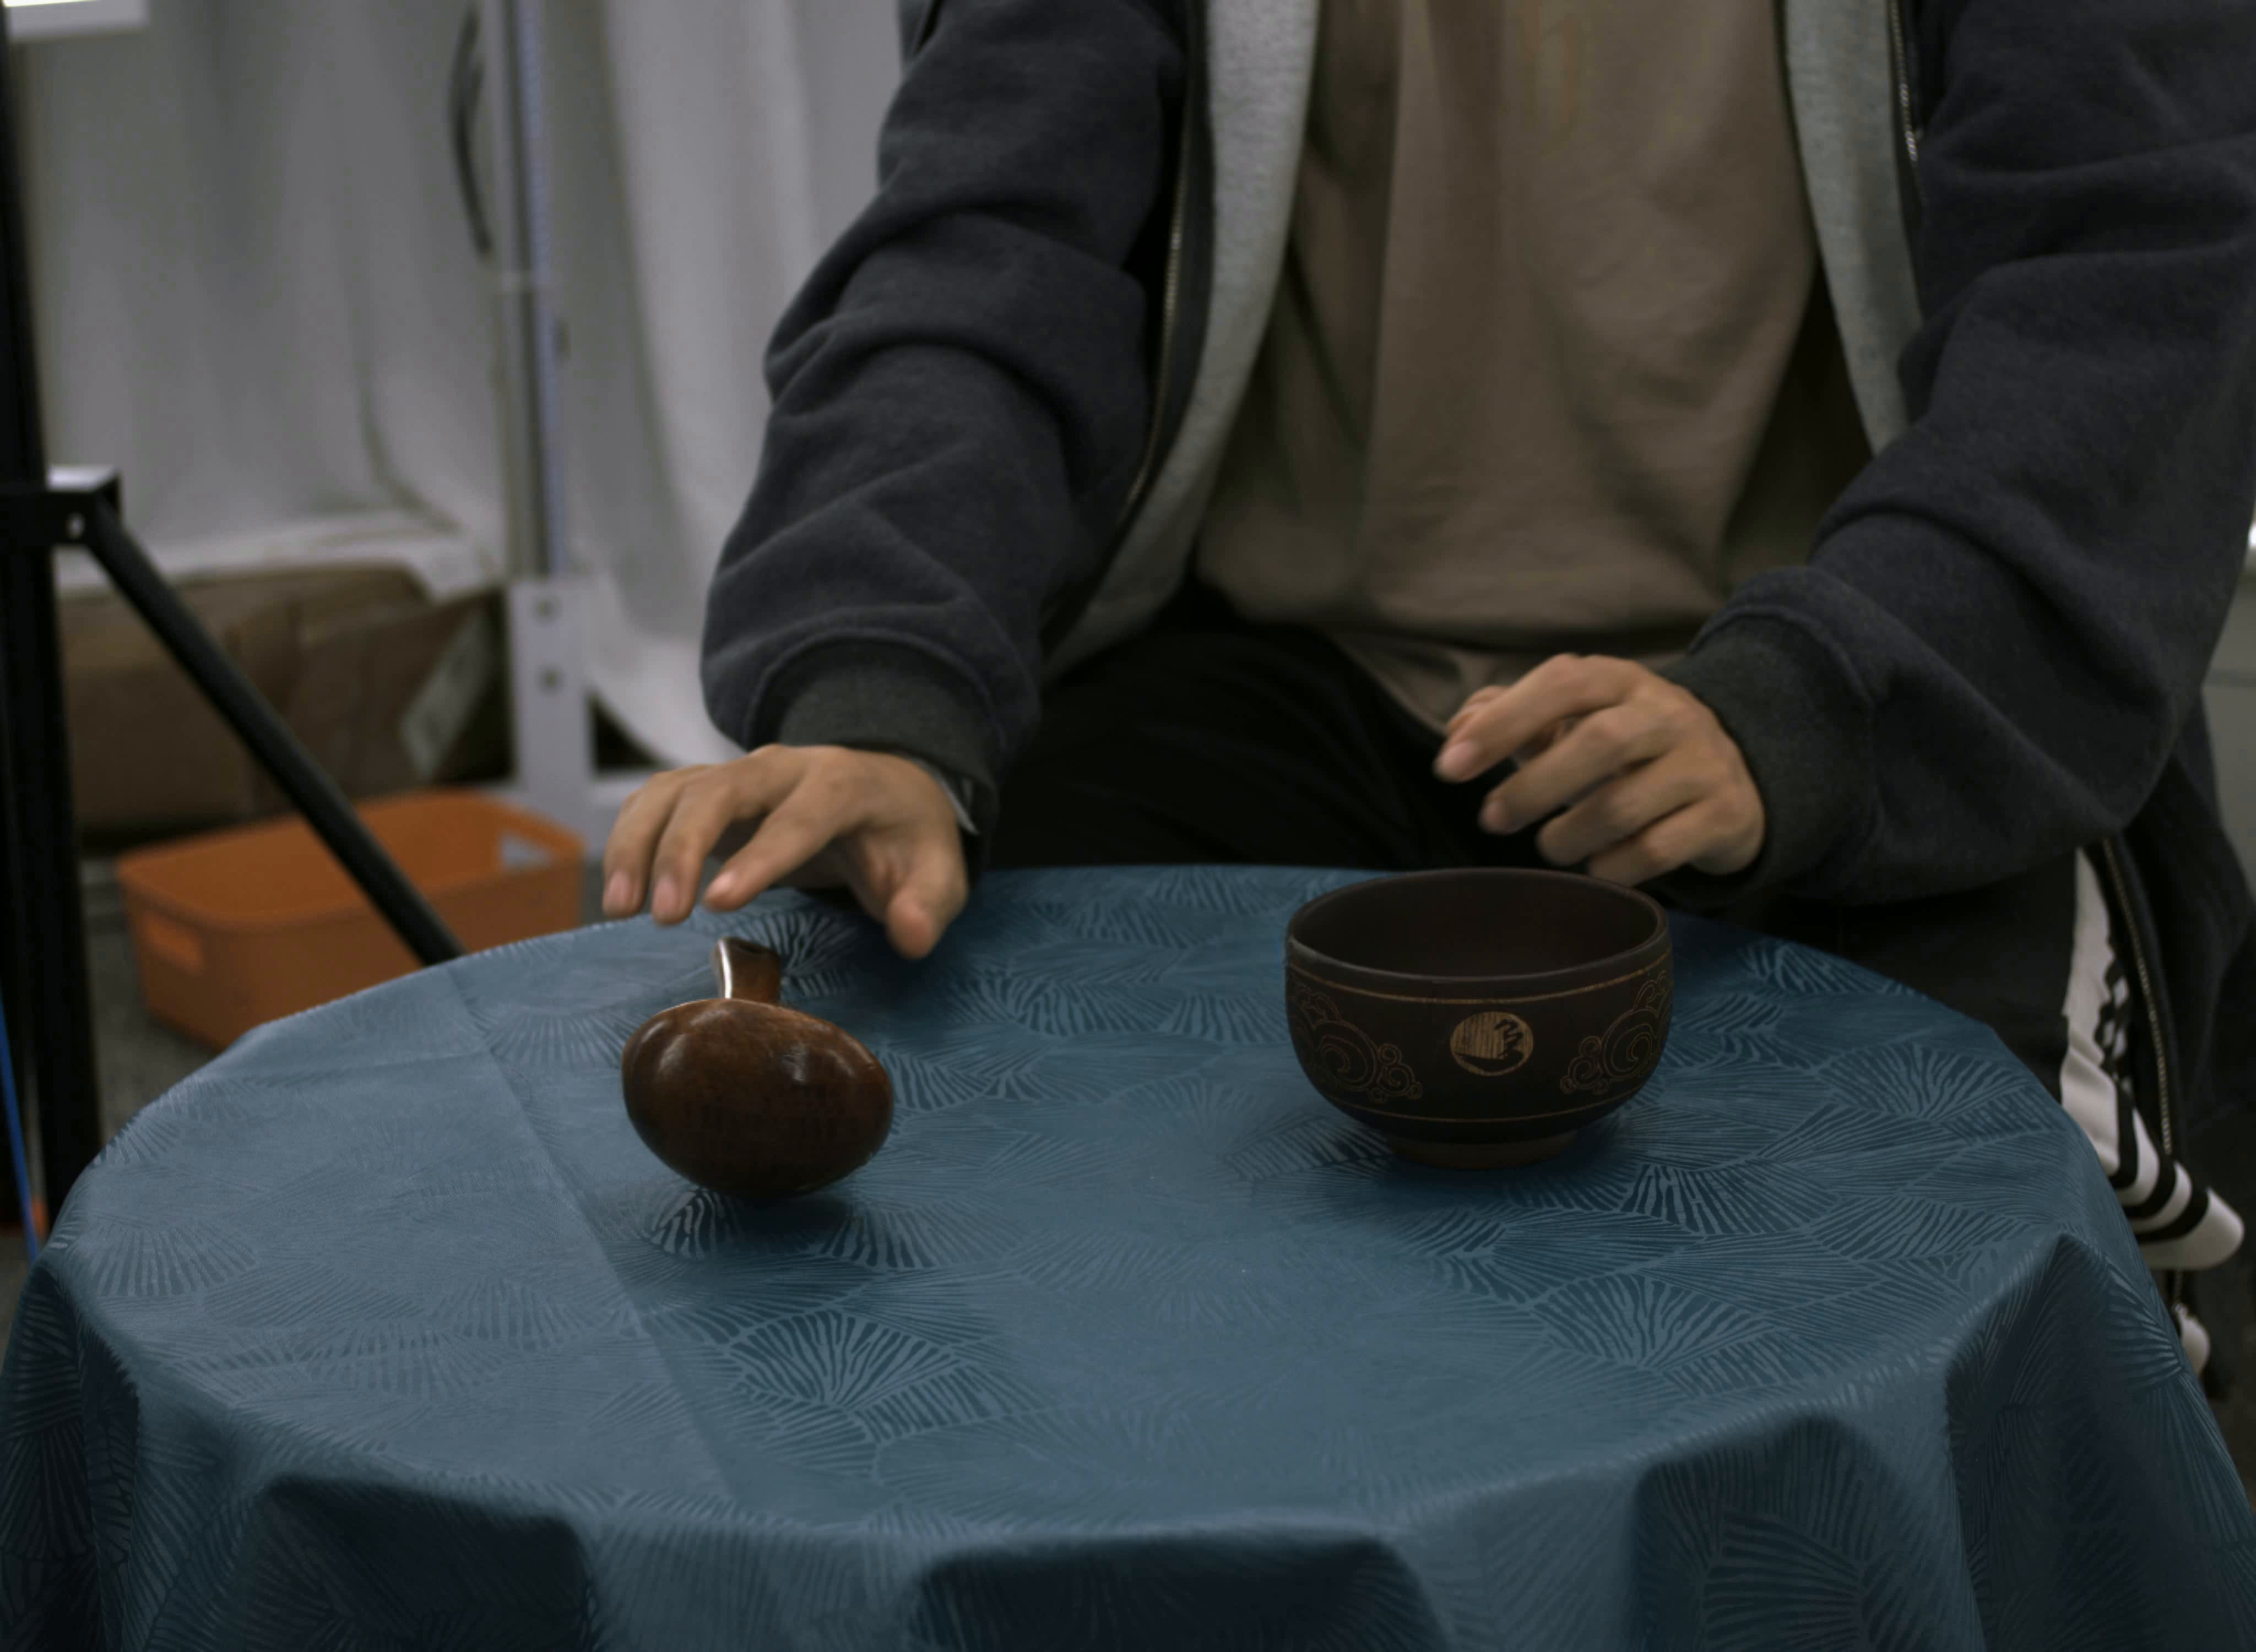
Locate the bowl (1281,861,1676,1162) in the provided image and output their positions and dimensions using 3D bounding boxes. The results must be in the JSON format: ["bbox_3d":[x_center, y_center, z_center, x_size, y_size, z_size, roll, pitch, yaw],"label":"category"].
[{"bbox_3d":[0.105,0.059,1.579,0.117,0.070,0.118,-3,15,-1],"label":"bowl"}]

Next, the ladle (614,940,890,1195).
[{"bbox_3d":[-0.110,0.050,1.642,0.081,0.077,0.275,20,14,-5],"label":"ladle"}]
